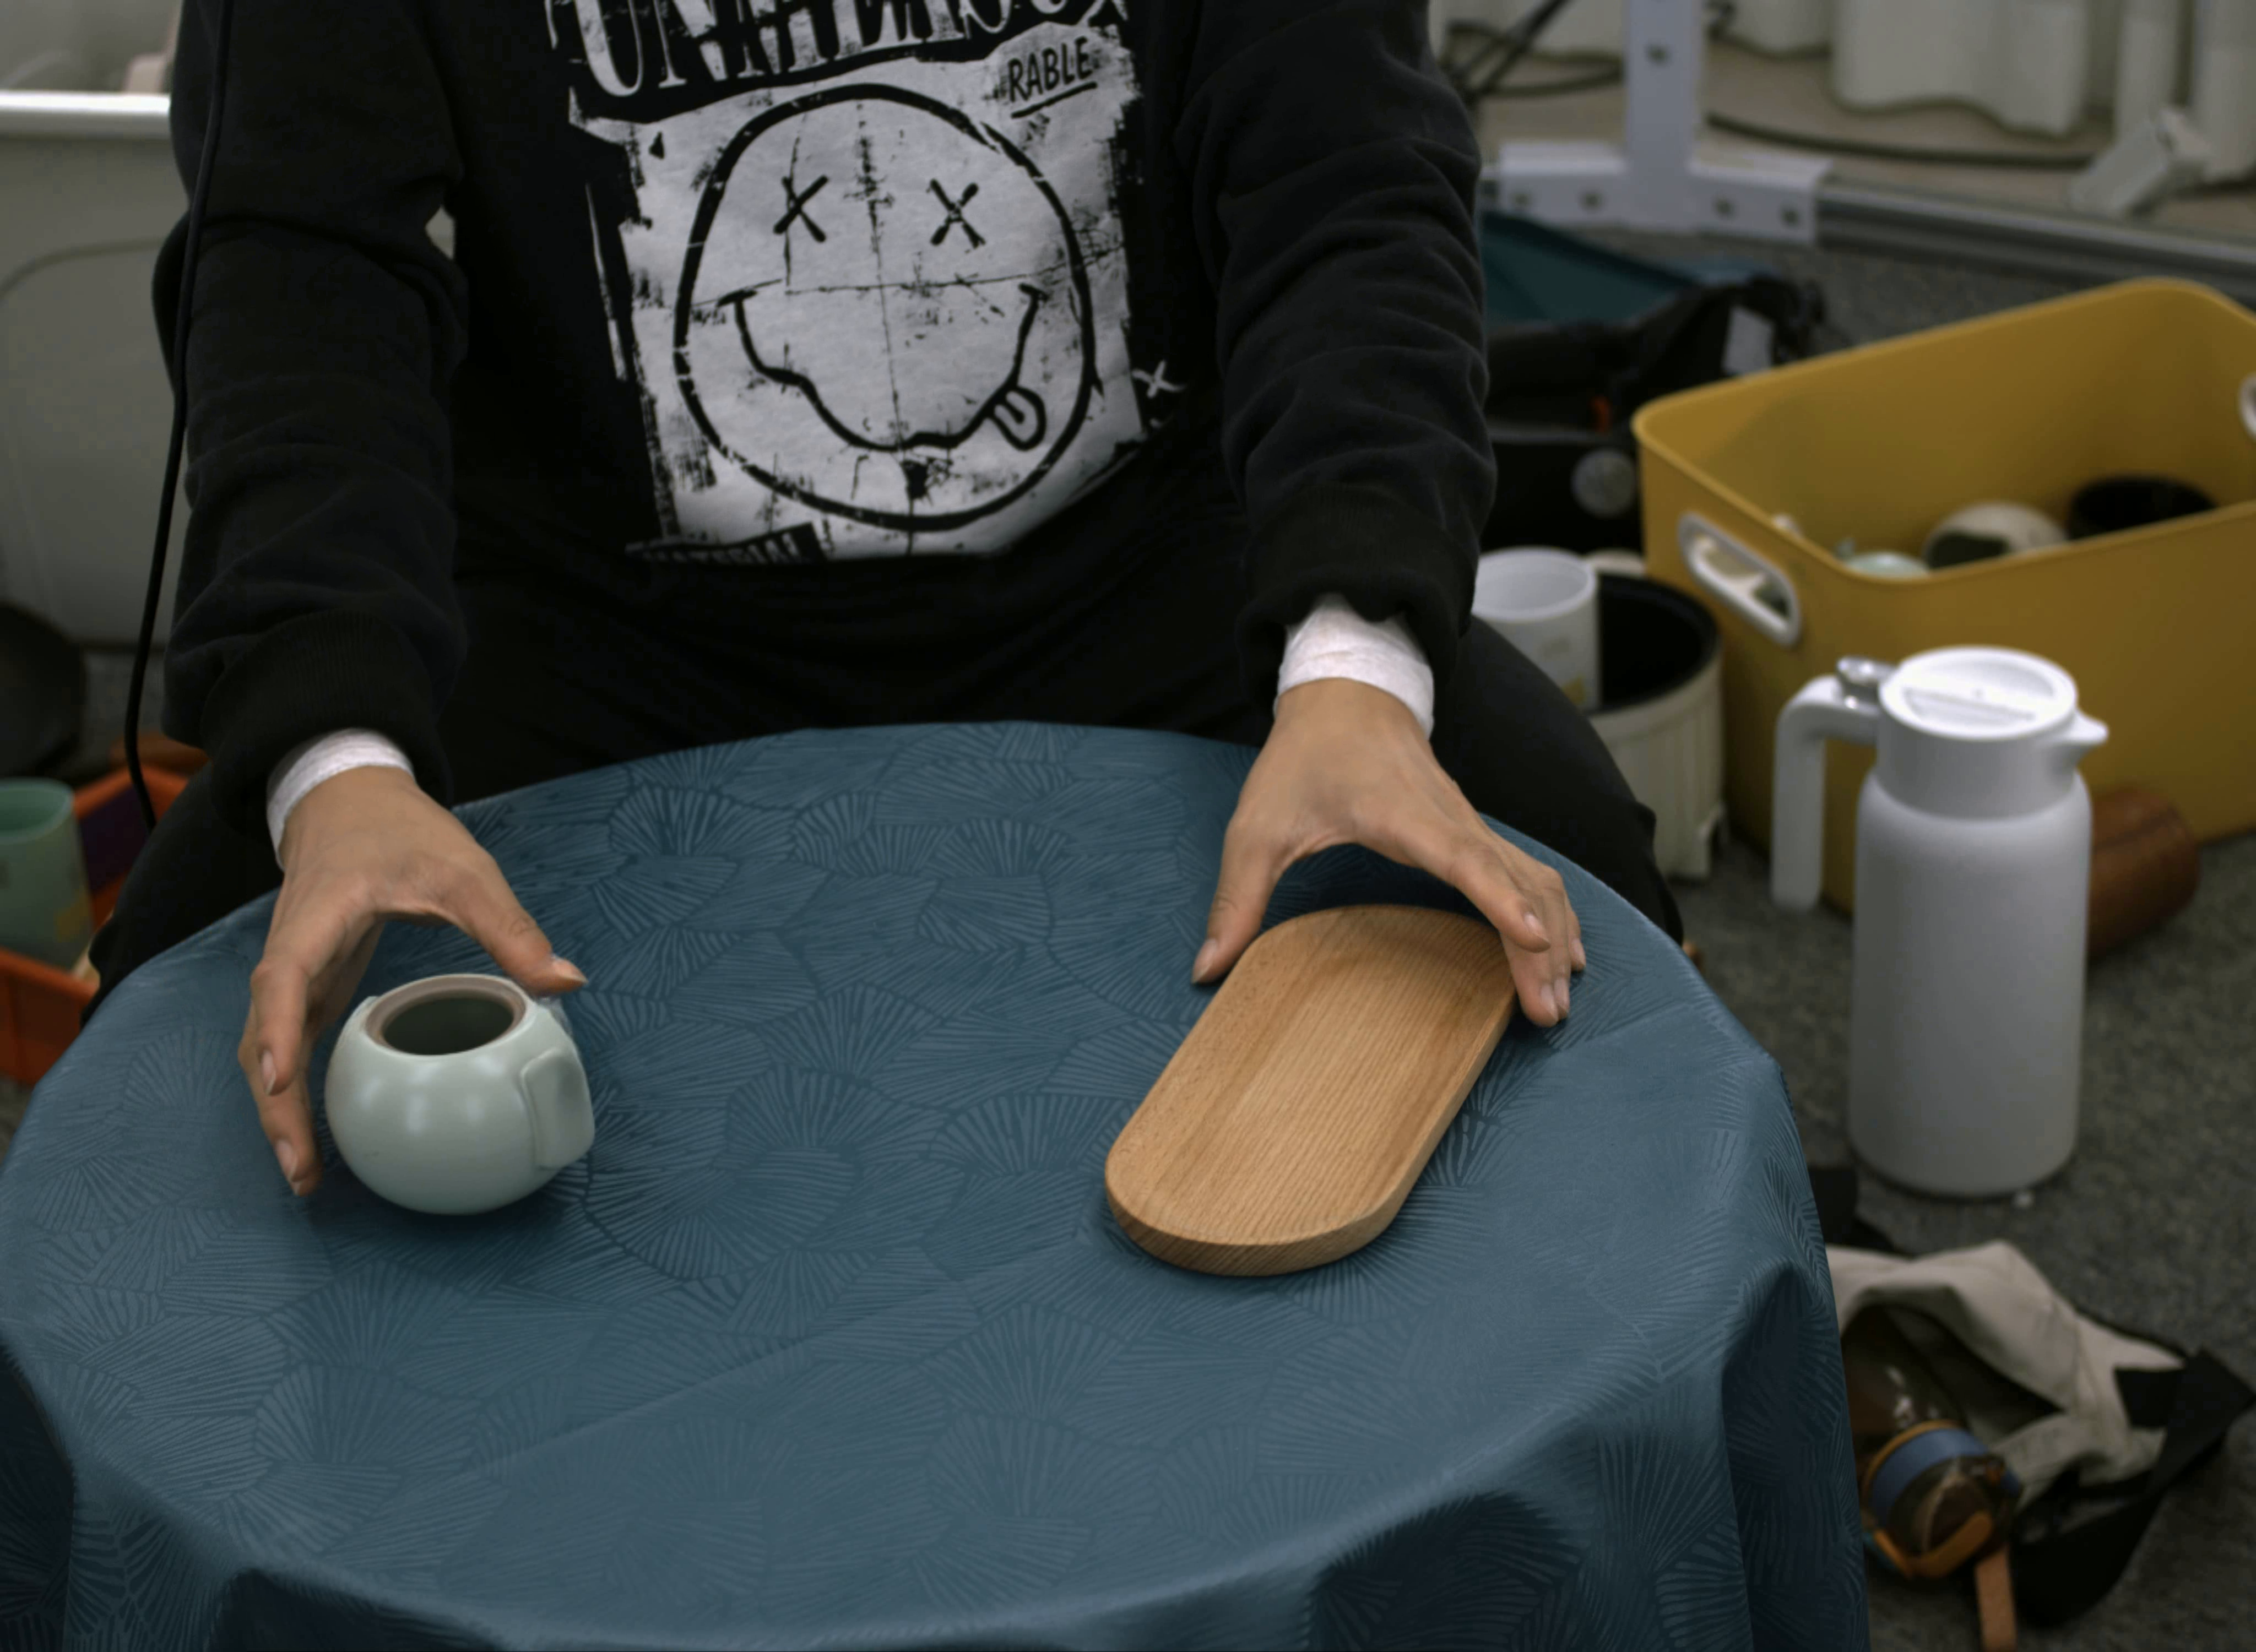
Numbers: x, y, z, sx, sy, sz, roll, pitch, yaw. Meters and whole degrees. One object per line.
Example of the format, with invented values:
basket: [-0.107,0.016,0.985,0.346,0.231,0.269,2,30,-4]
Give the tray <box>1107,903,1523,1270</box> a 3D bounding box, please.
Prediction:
tray: [0.065,0.086,1.905,0.101,0.020,0.235,8,28,17]

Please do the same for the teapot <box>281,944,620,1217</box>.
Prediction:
teapot: [-0.223,0.089,1.867,0.143,0.074,0.089,18,33,32]
